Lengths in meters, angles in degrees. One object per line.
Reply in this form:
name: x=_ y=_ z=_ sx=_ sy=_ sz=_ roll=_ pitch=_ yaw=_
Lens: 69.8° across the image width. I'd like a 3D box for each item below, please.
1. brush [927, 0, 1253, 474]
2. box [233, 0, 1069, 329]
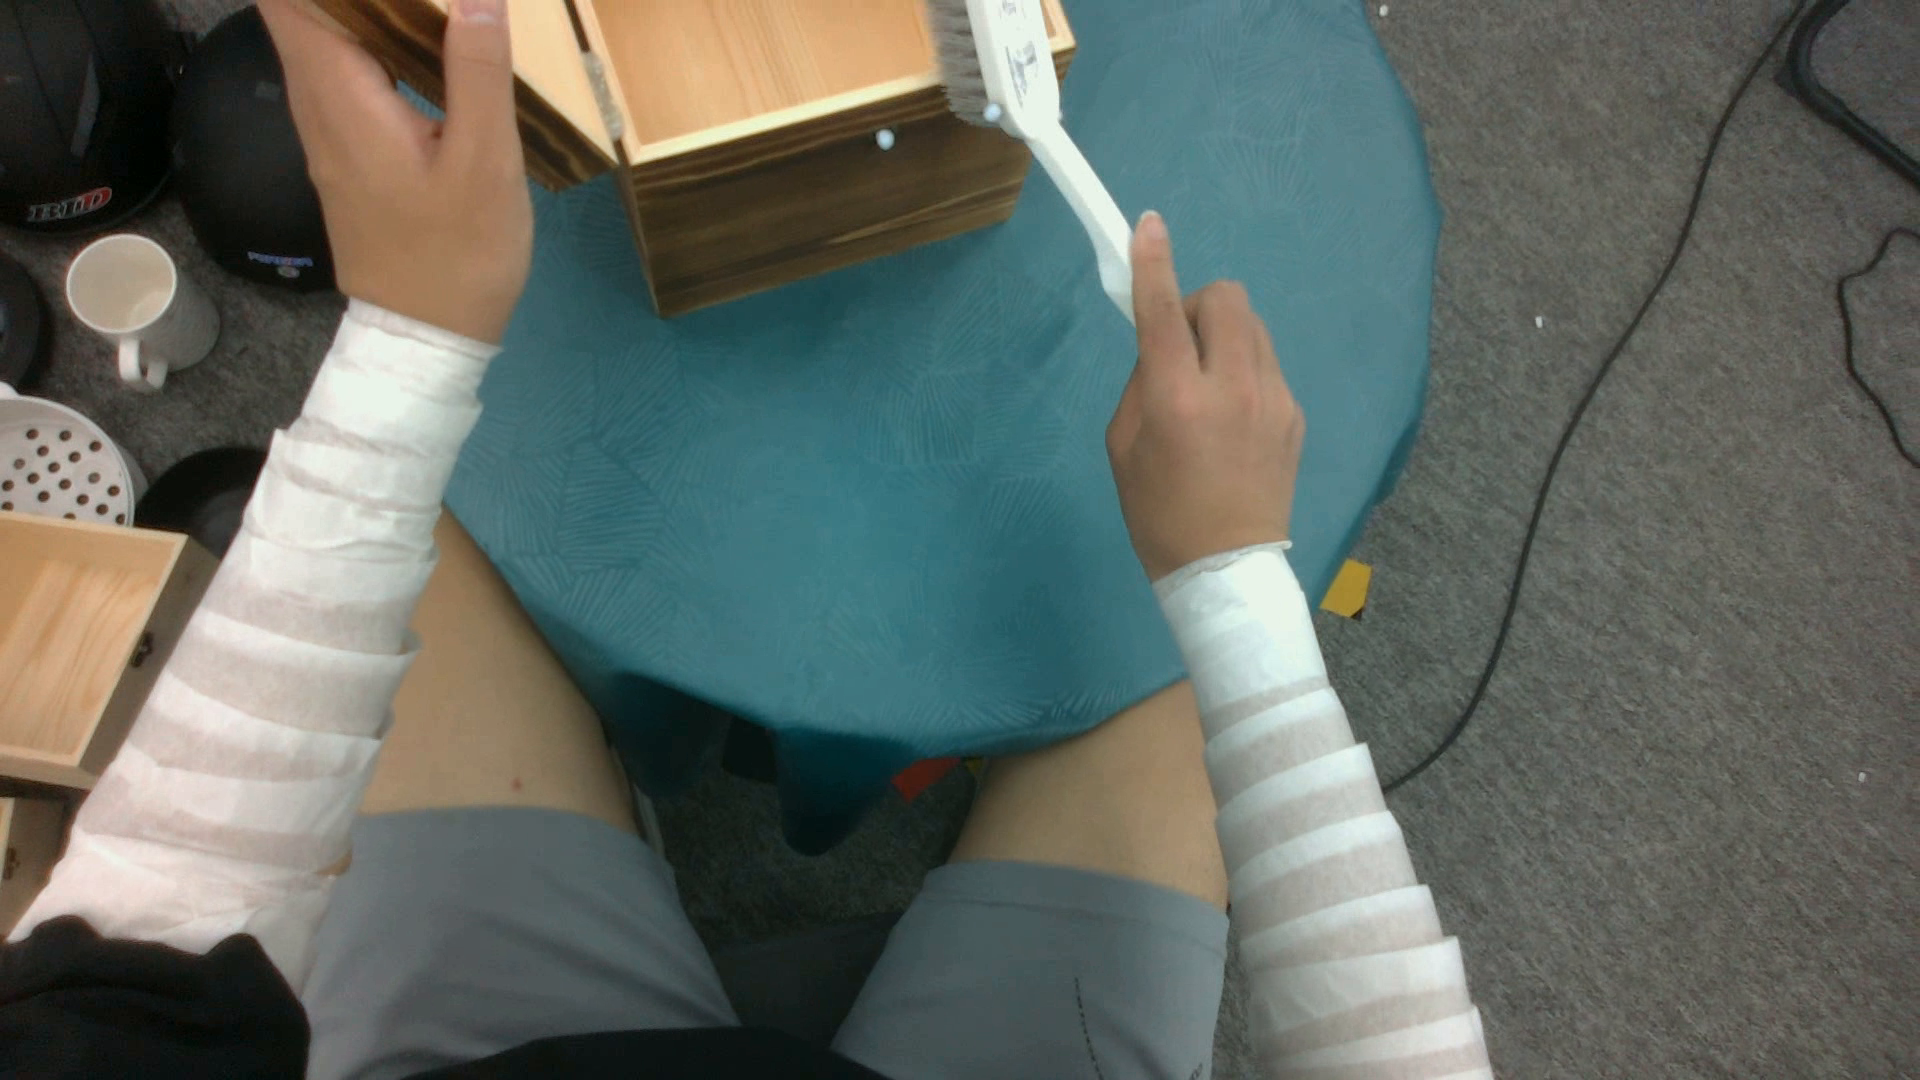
brush: x=0.057 y=-0.131 z=0.611 sx=0.034 sy=0.050 sz=0.243 roll=-42 pitch=109 yaw=-37
box: x=-0.125 y=-0.254 z=0.599 sx=0.322 sy=0.374 sz=0.209 roll=-19 pitch=82 yaw=-10
